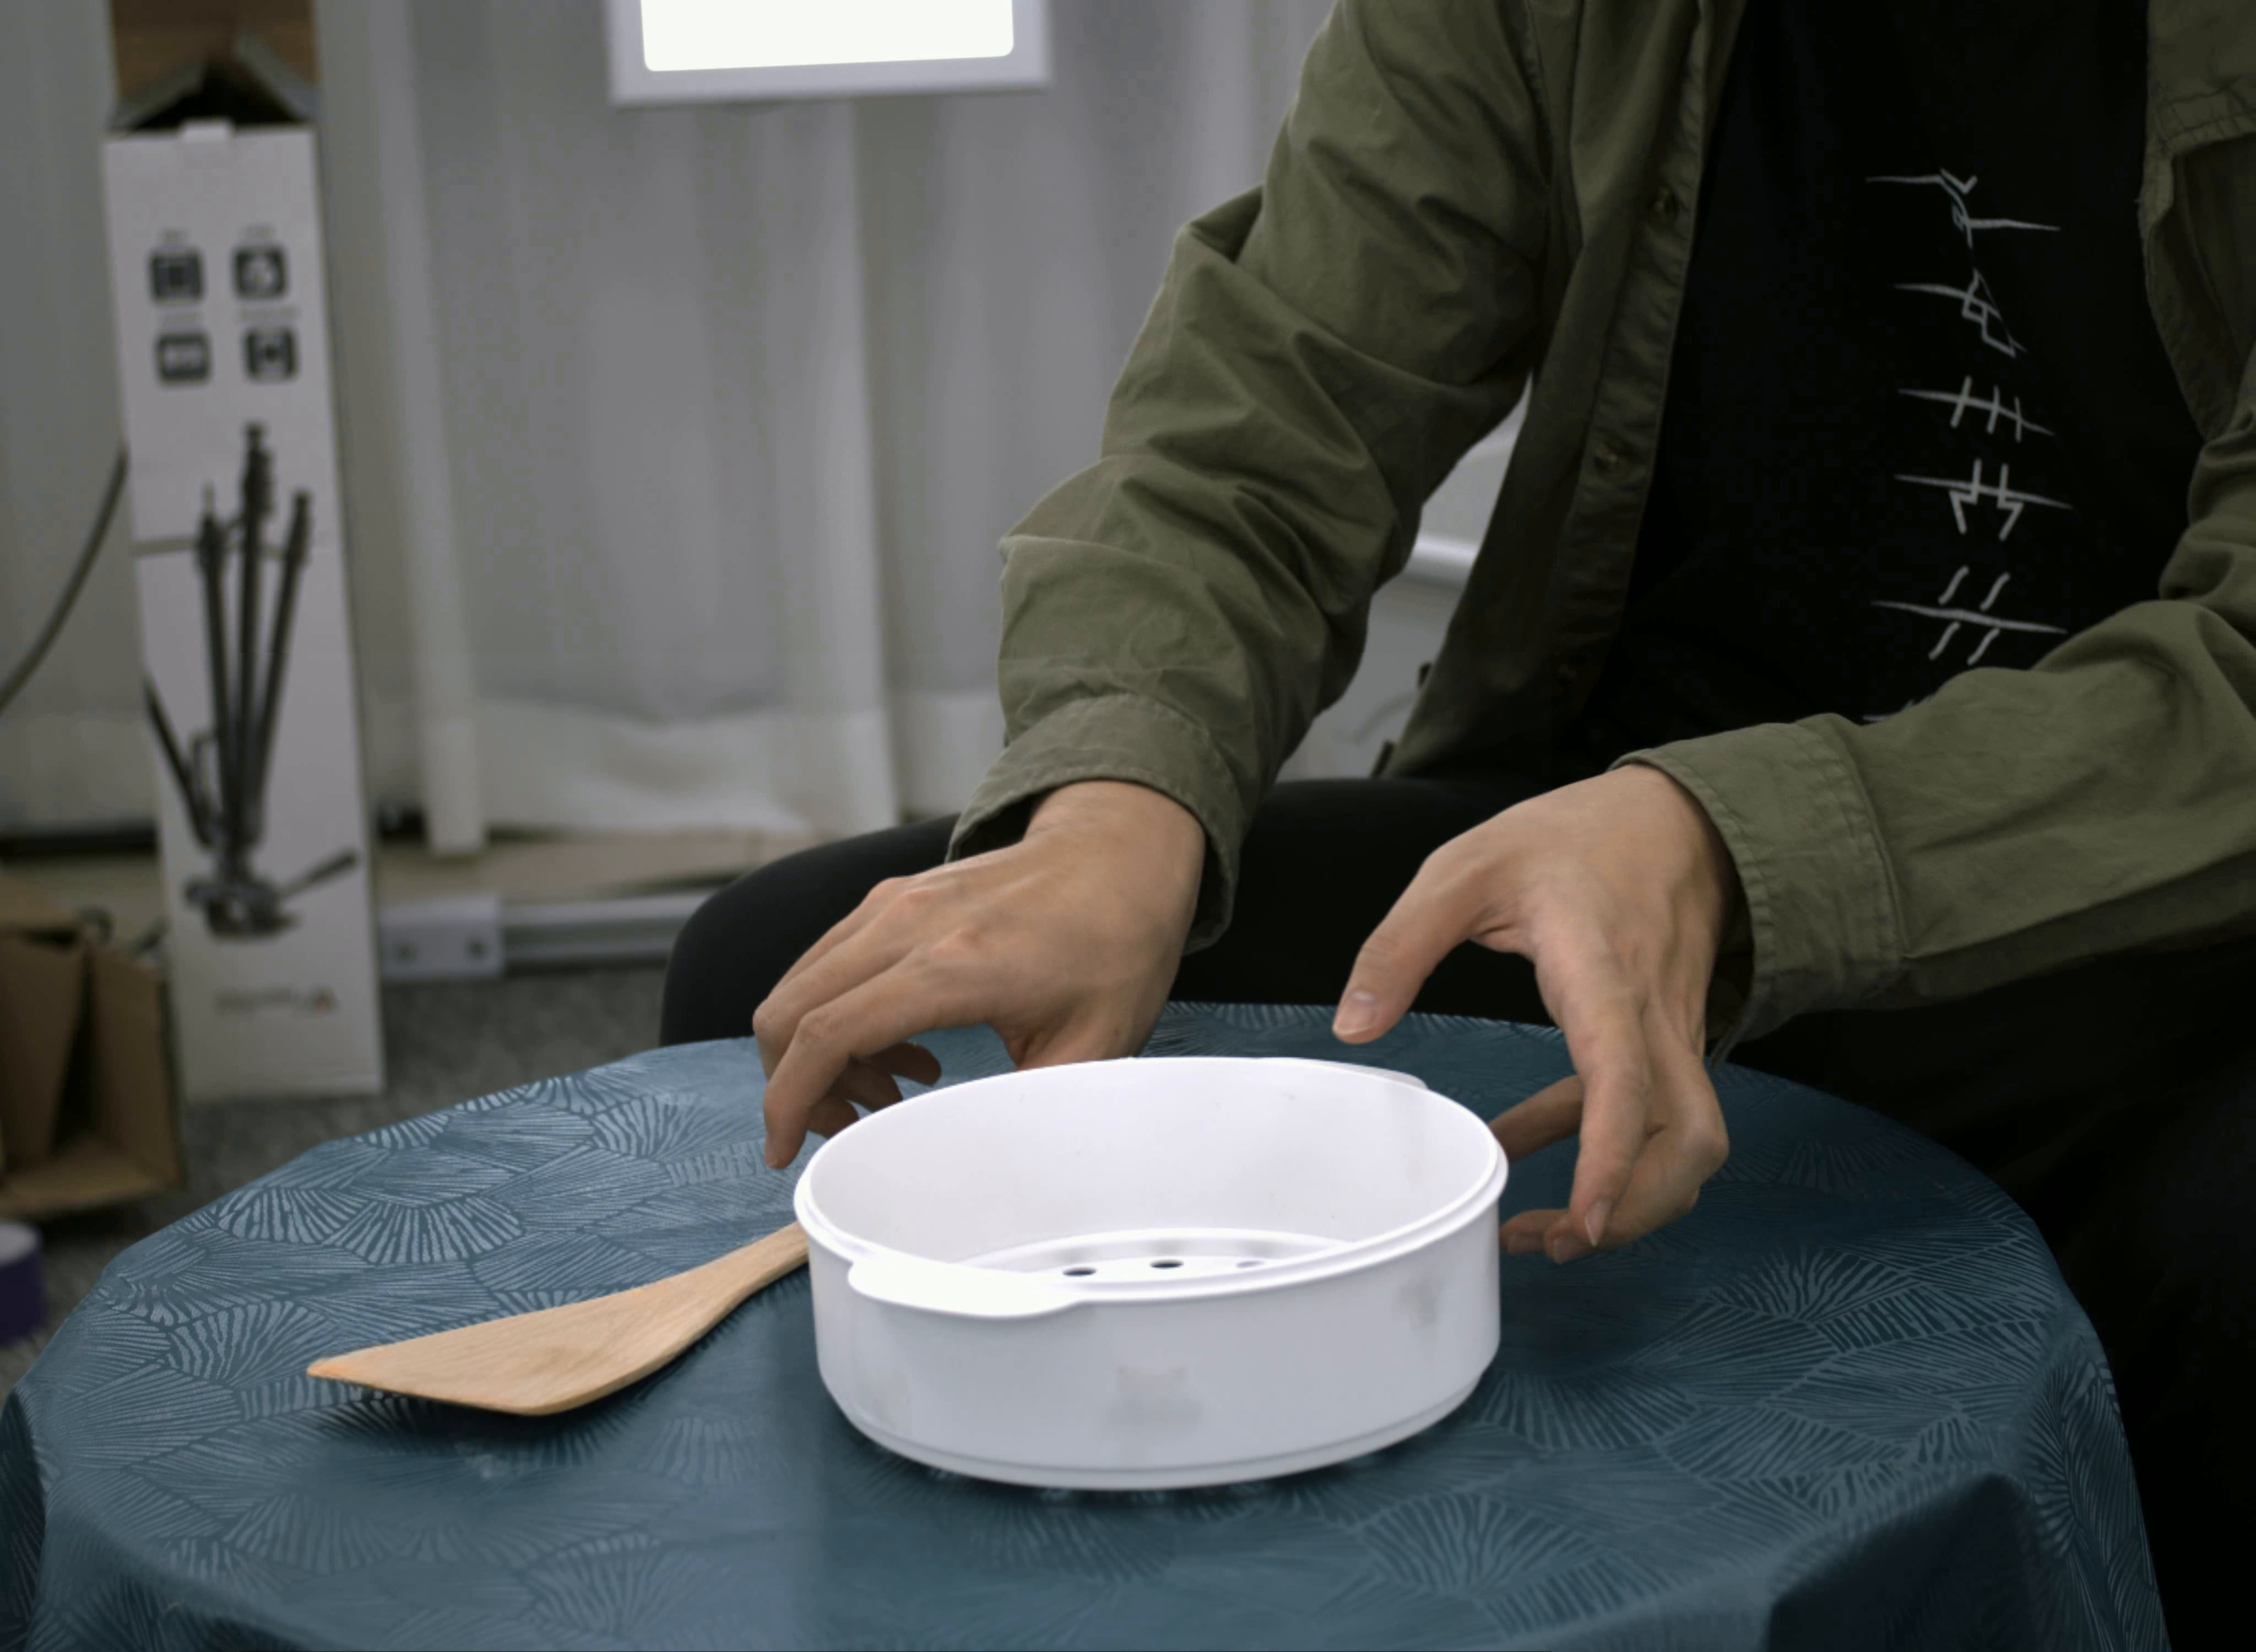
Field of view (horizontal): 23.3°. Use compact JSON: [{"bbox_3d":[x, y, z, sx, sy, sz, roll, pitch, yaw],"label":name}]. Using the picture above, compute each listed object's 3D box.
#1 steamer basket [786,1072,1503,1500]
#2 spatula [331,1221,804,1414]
[{"bbox_3d":[0.005,0.129,1.538,0.202,0.069,0.230,7,16,32],"label":"steamer basket"},{"bbox_3d":[-0.103,0.126,1.661,0.080,0.016,0.327,8,19,35],"label":"spatula"}]
